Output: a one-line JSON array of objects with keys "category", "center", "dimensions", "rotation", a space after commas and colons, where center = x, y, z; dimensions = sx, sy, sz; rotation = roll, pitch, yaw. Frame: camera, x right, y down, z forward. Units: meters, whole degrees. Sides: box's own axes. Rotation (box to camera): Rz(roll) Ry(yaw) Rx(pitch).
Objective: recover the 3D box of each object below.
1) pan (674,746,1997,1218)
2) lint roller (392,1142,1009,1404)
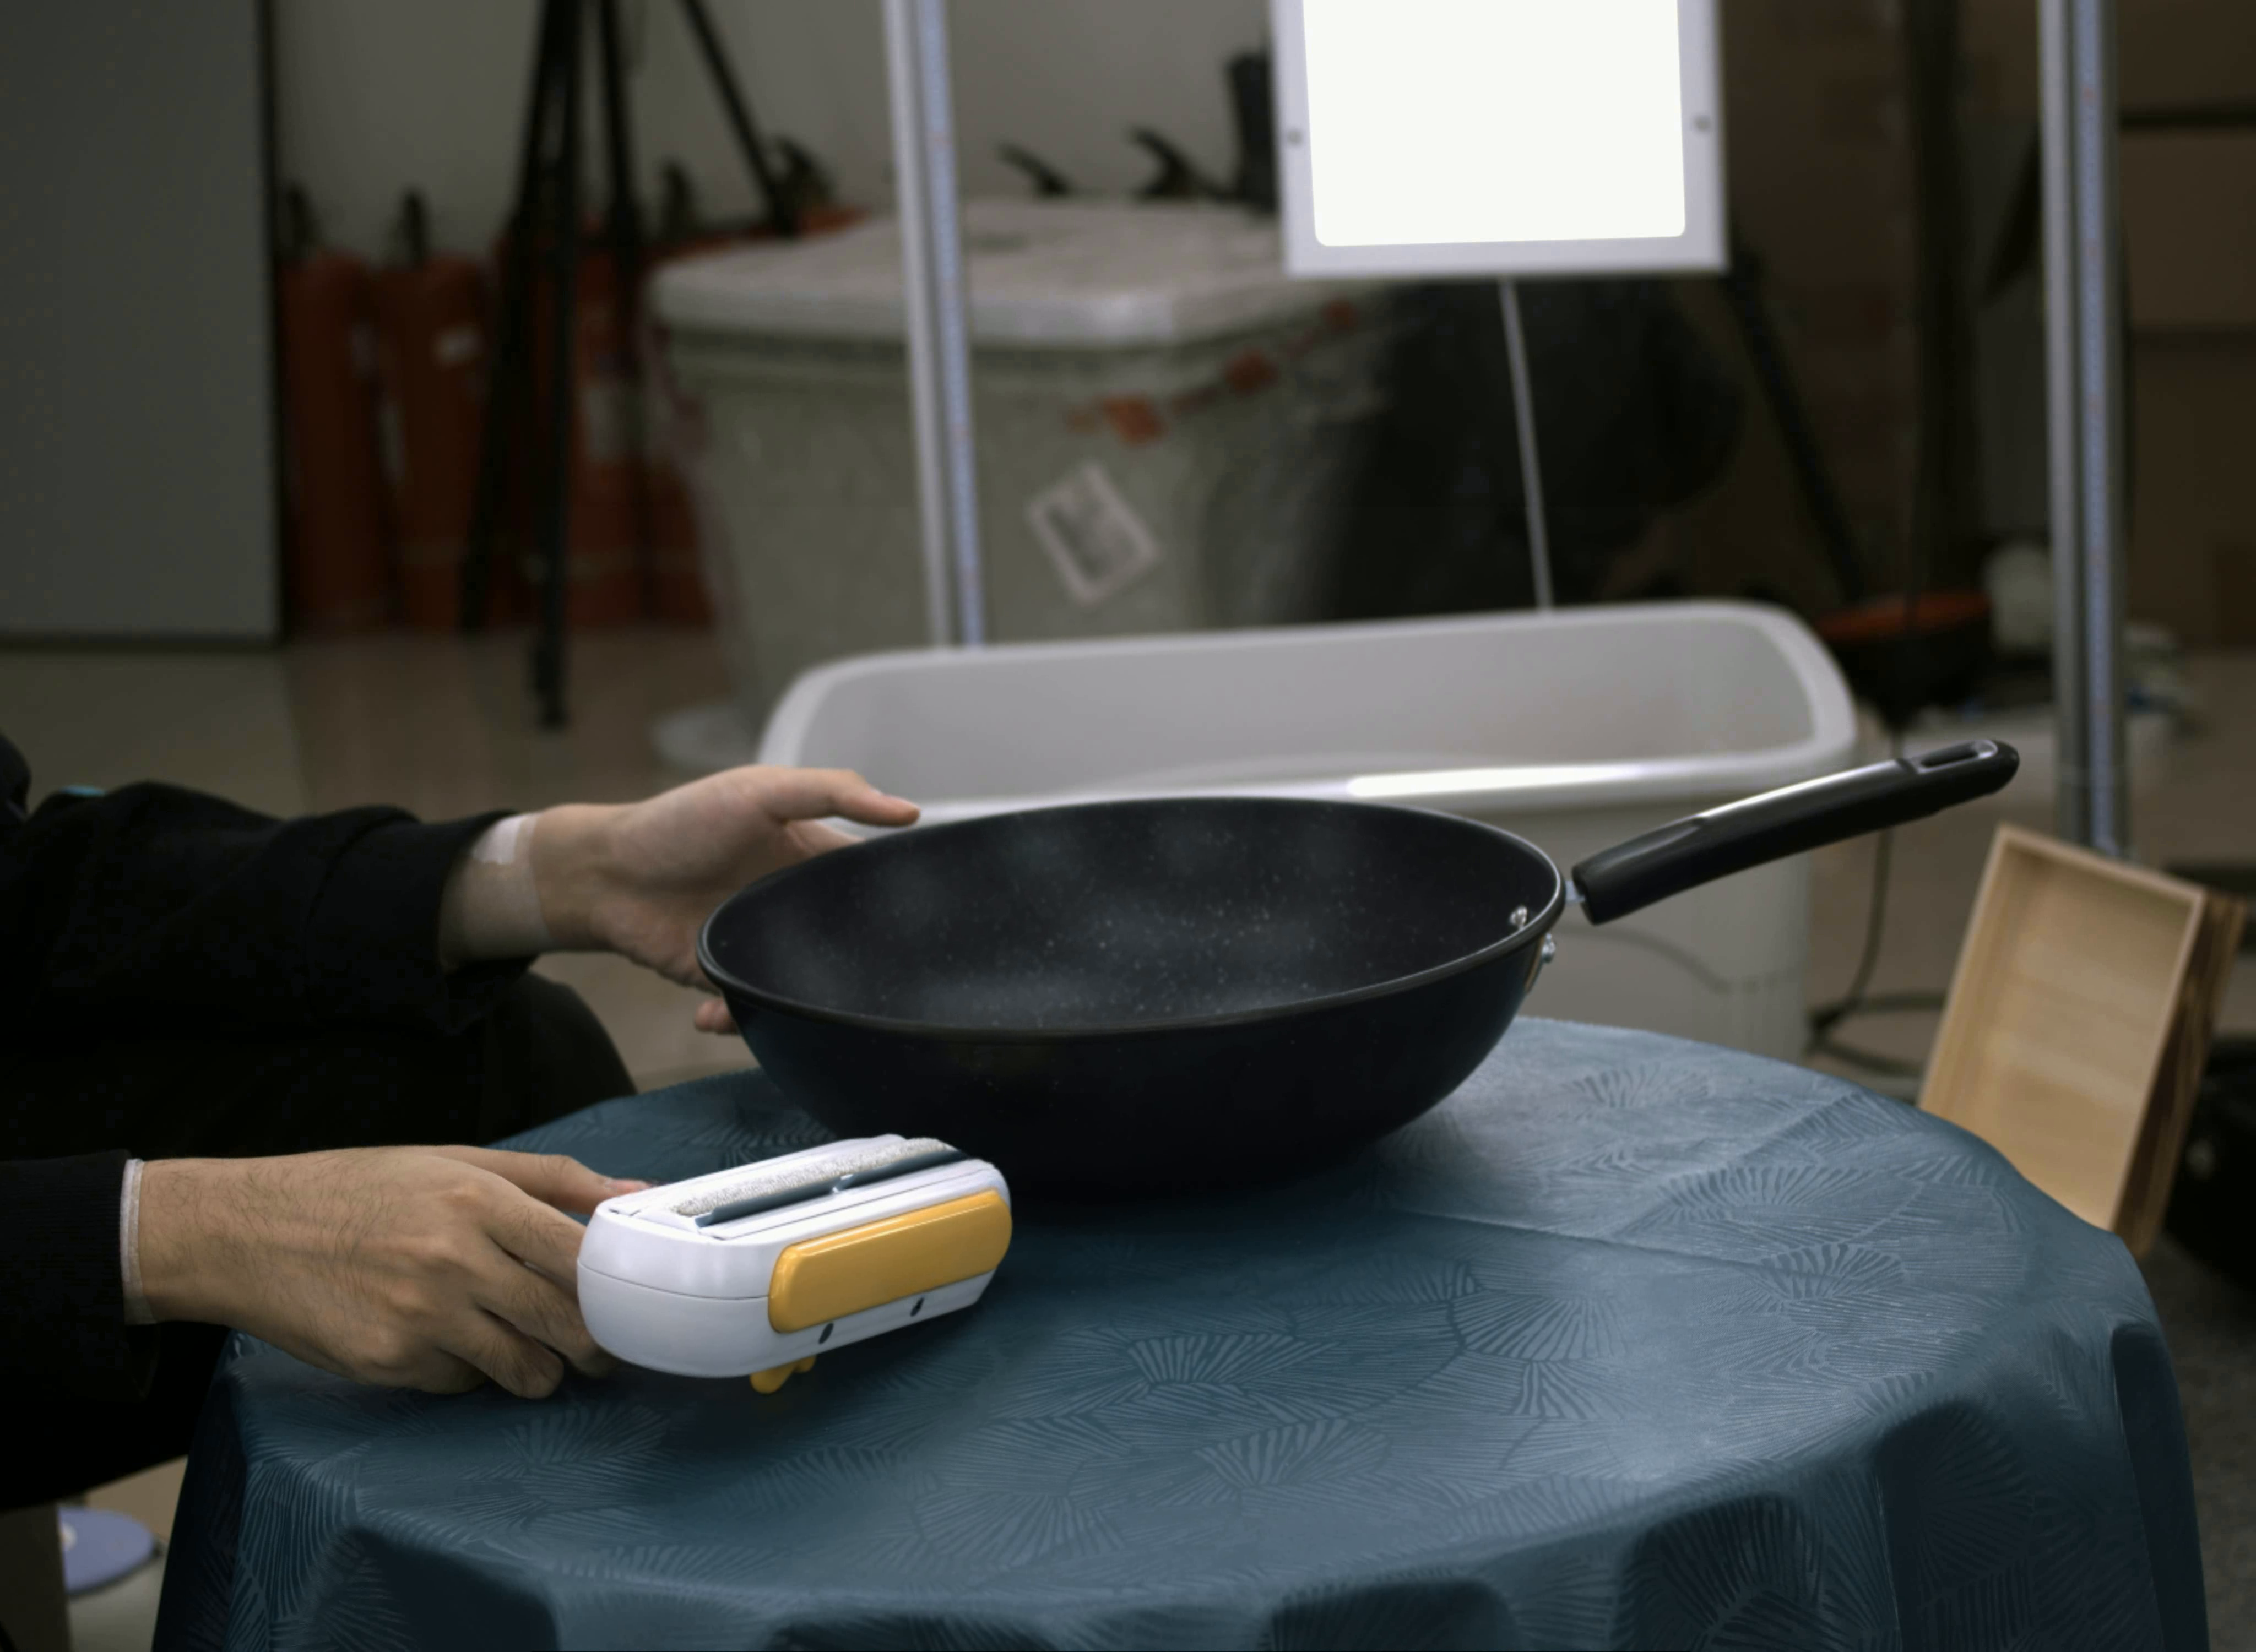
[{"category": "pan", "center": [0.079, 0.051, 1.950], "dimensions": [0.474, 0.112, 0.310], "rotation": [-6, 16, -3]}, {"category": "lint roller", "center": [-0.155, 0.140, 1.756], "dimensions": [0.196, 0.074, 0.188], "rotation": [2, 10, 33]}]
